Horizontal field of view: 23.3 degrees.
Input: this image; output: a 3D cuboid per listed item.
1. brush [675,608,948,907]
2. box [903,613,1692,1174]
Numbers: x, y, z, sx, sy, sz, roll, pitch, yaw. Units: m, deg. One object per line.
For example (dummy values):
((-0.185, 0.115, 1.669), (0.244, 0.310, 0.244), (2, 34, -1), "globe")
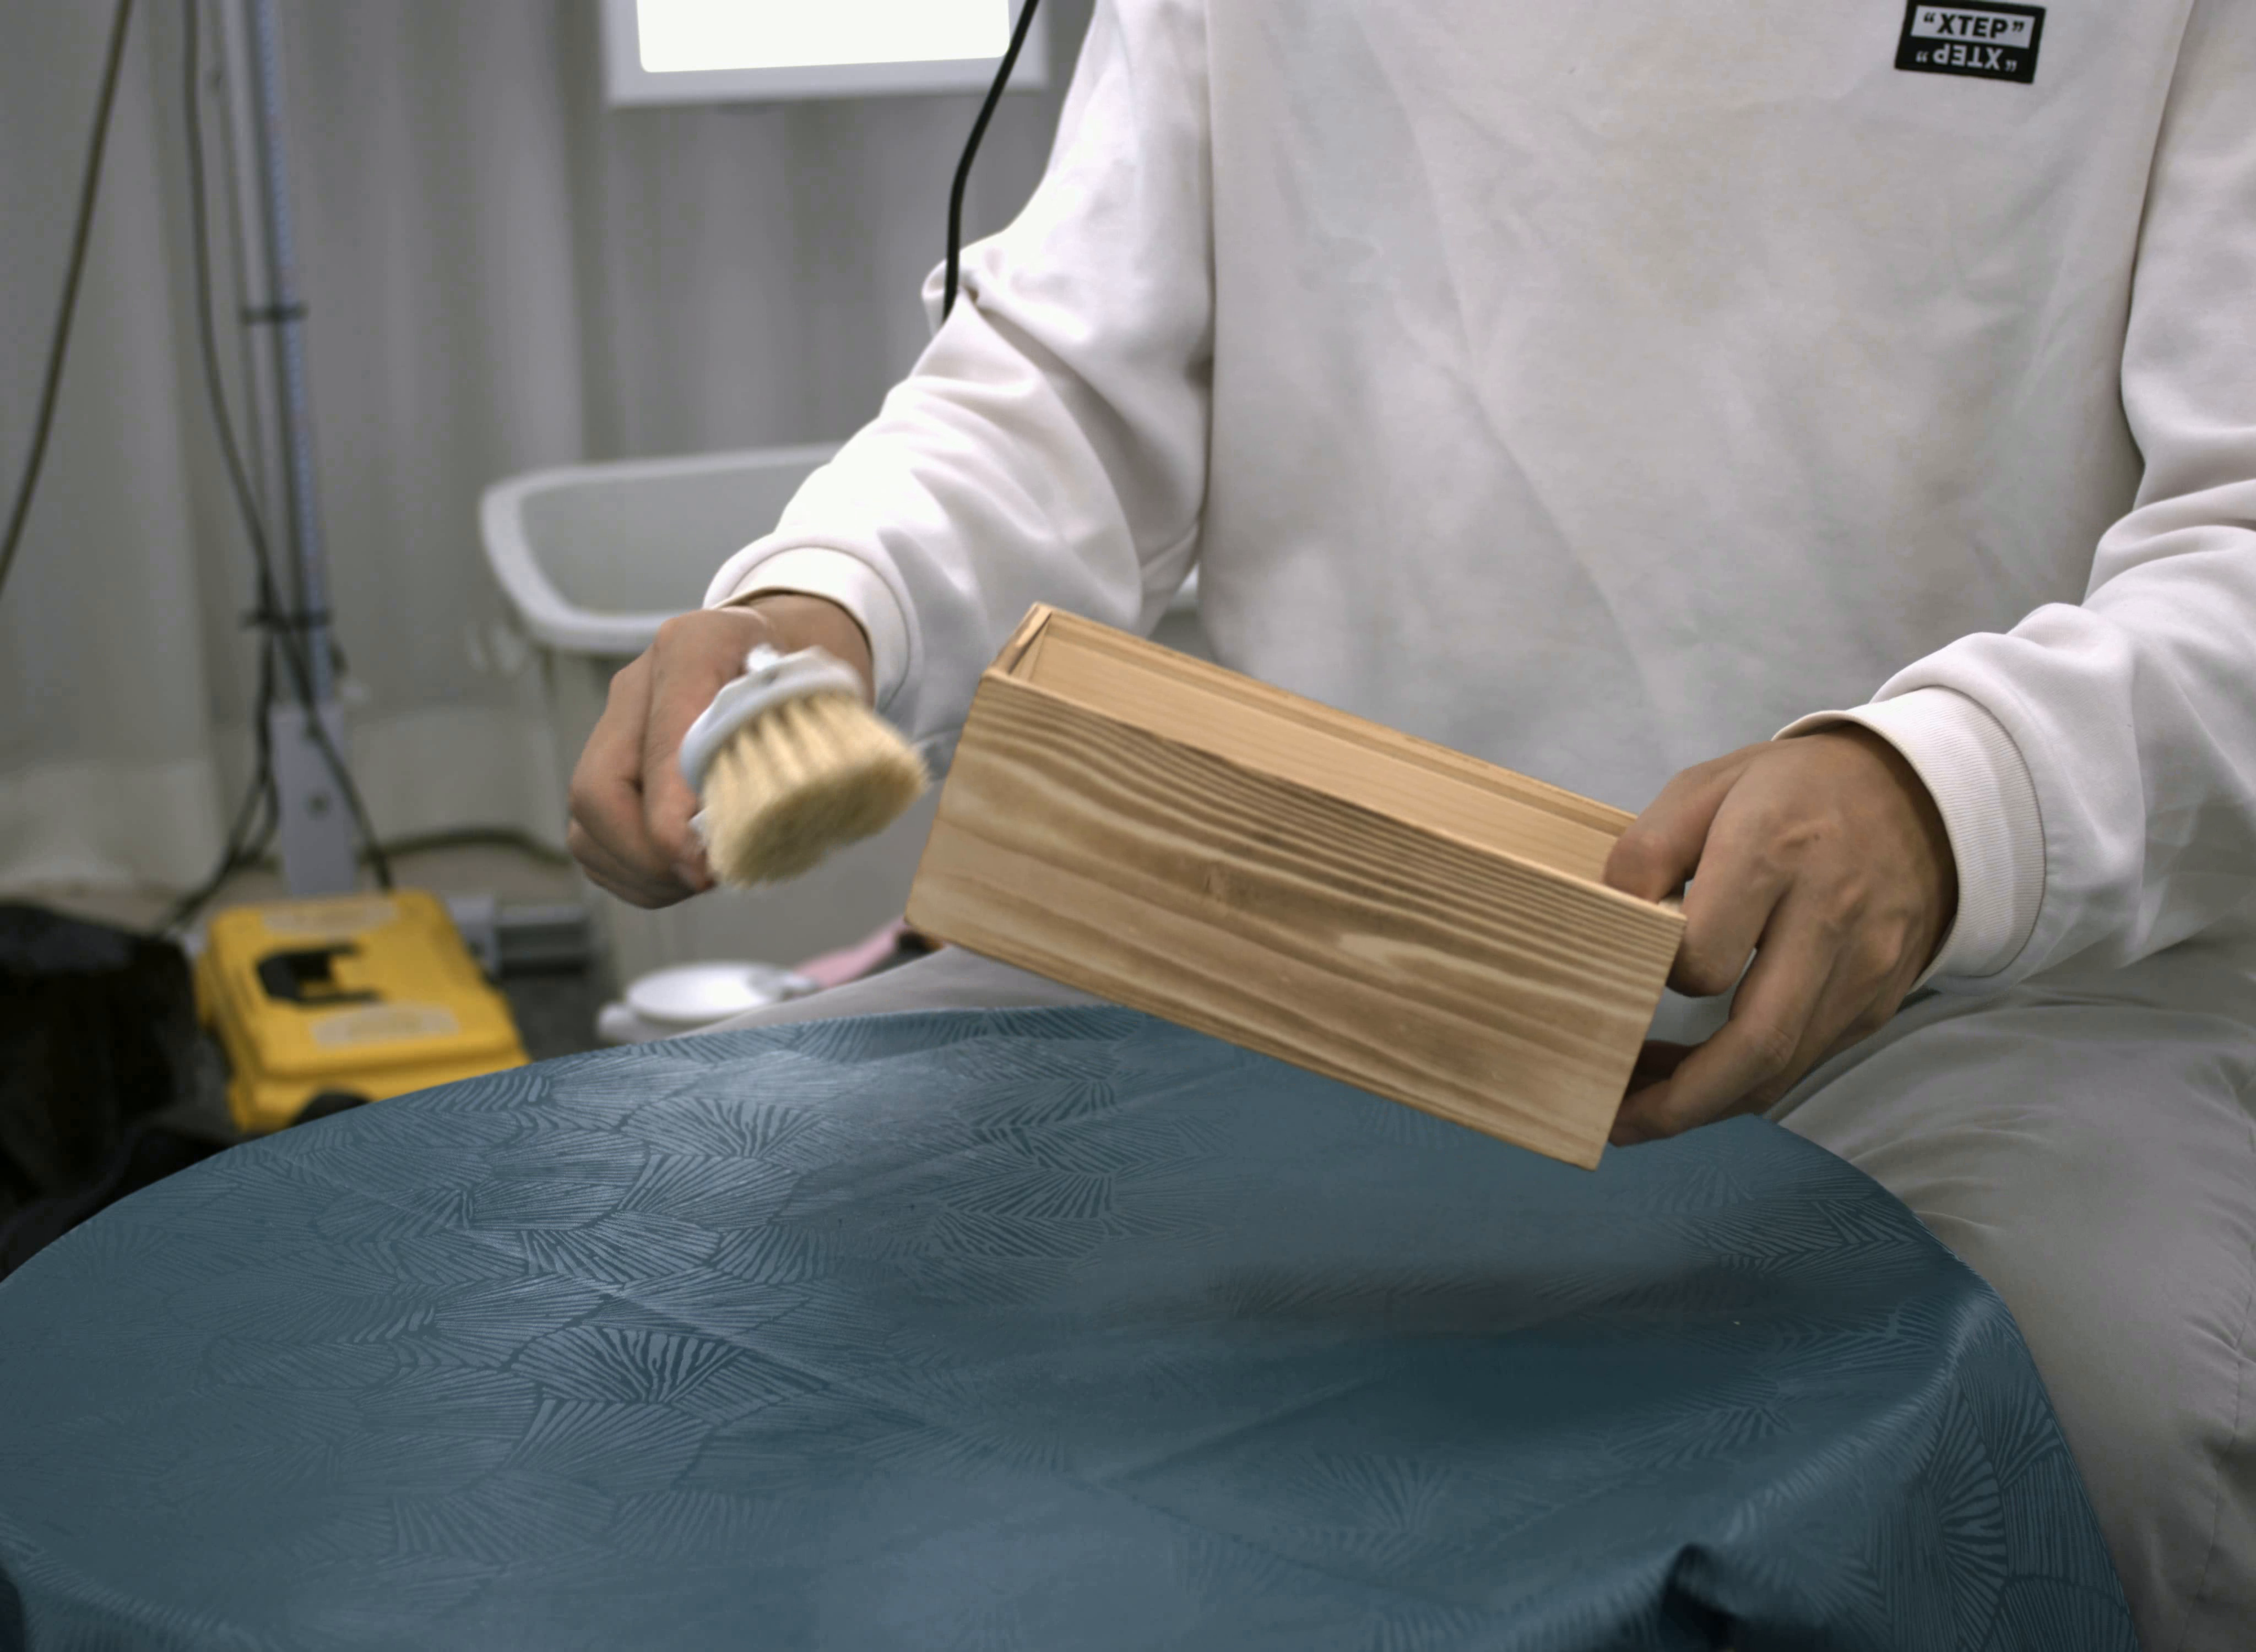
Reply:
((-0.108, 0.003, 1.708), (0.068, 0.057, 0.264), (-12, -16, -14), "brush")
((0.051, 0.017, 1.593), (0.211, 0.080, 0.108), (19, 13, 3), "box")
